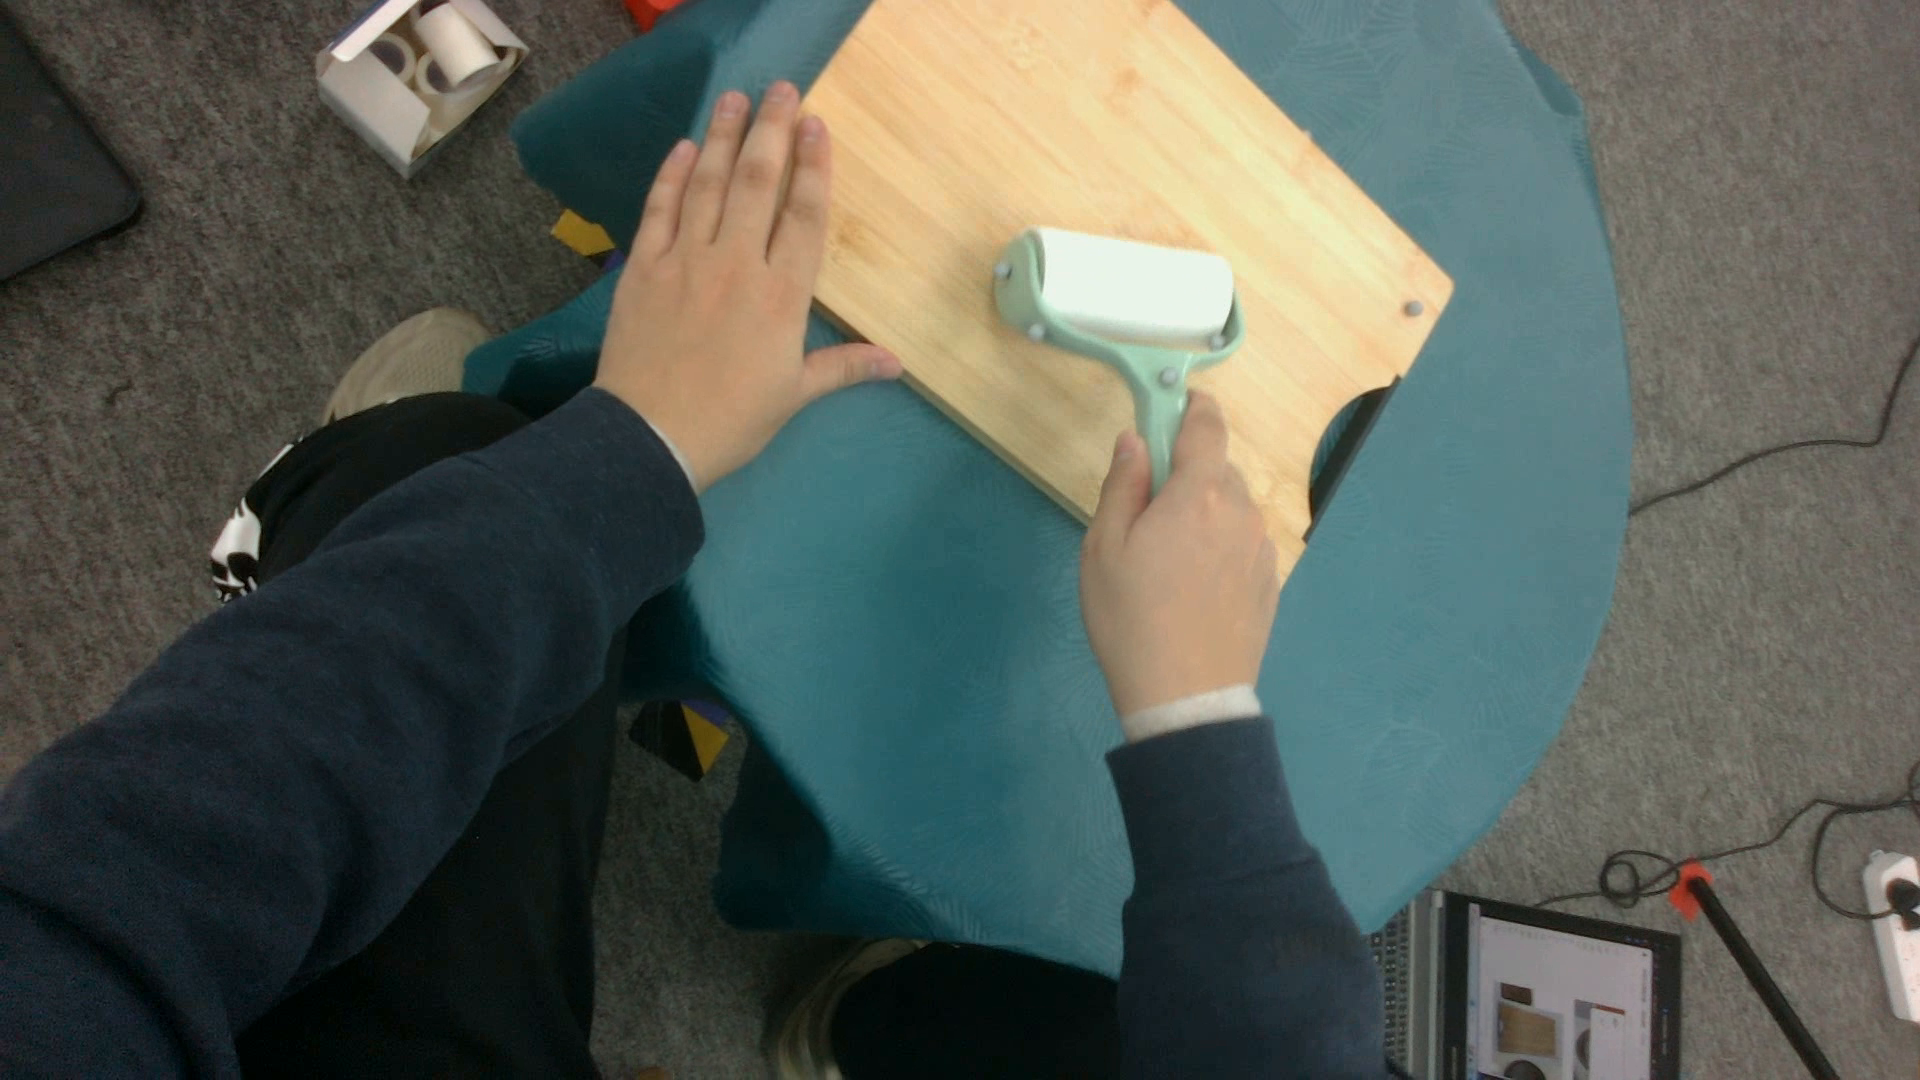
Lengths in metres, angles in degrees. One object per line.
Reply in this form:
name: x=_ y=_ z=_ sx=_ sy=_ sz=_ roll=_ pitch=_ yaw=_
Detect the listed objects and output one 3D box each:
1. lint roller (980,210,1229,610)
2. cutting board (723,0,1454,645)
lint roller: x=0.080 y=-0.065 z=0.636 sx=0.117 sy=0.048 sz=0.198 roll=1 pitch=64 yaw=-25
cutting board: x=0.085 y=-0.139 z=0.708 sx=0.348 sy=0.023 sz=0.251 roll=33 pitch=77 yaw=-18
